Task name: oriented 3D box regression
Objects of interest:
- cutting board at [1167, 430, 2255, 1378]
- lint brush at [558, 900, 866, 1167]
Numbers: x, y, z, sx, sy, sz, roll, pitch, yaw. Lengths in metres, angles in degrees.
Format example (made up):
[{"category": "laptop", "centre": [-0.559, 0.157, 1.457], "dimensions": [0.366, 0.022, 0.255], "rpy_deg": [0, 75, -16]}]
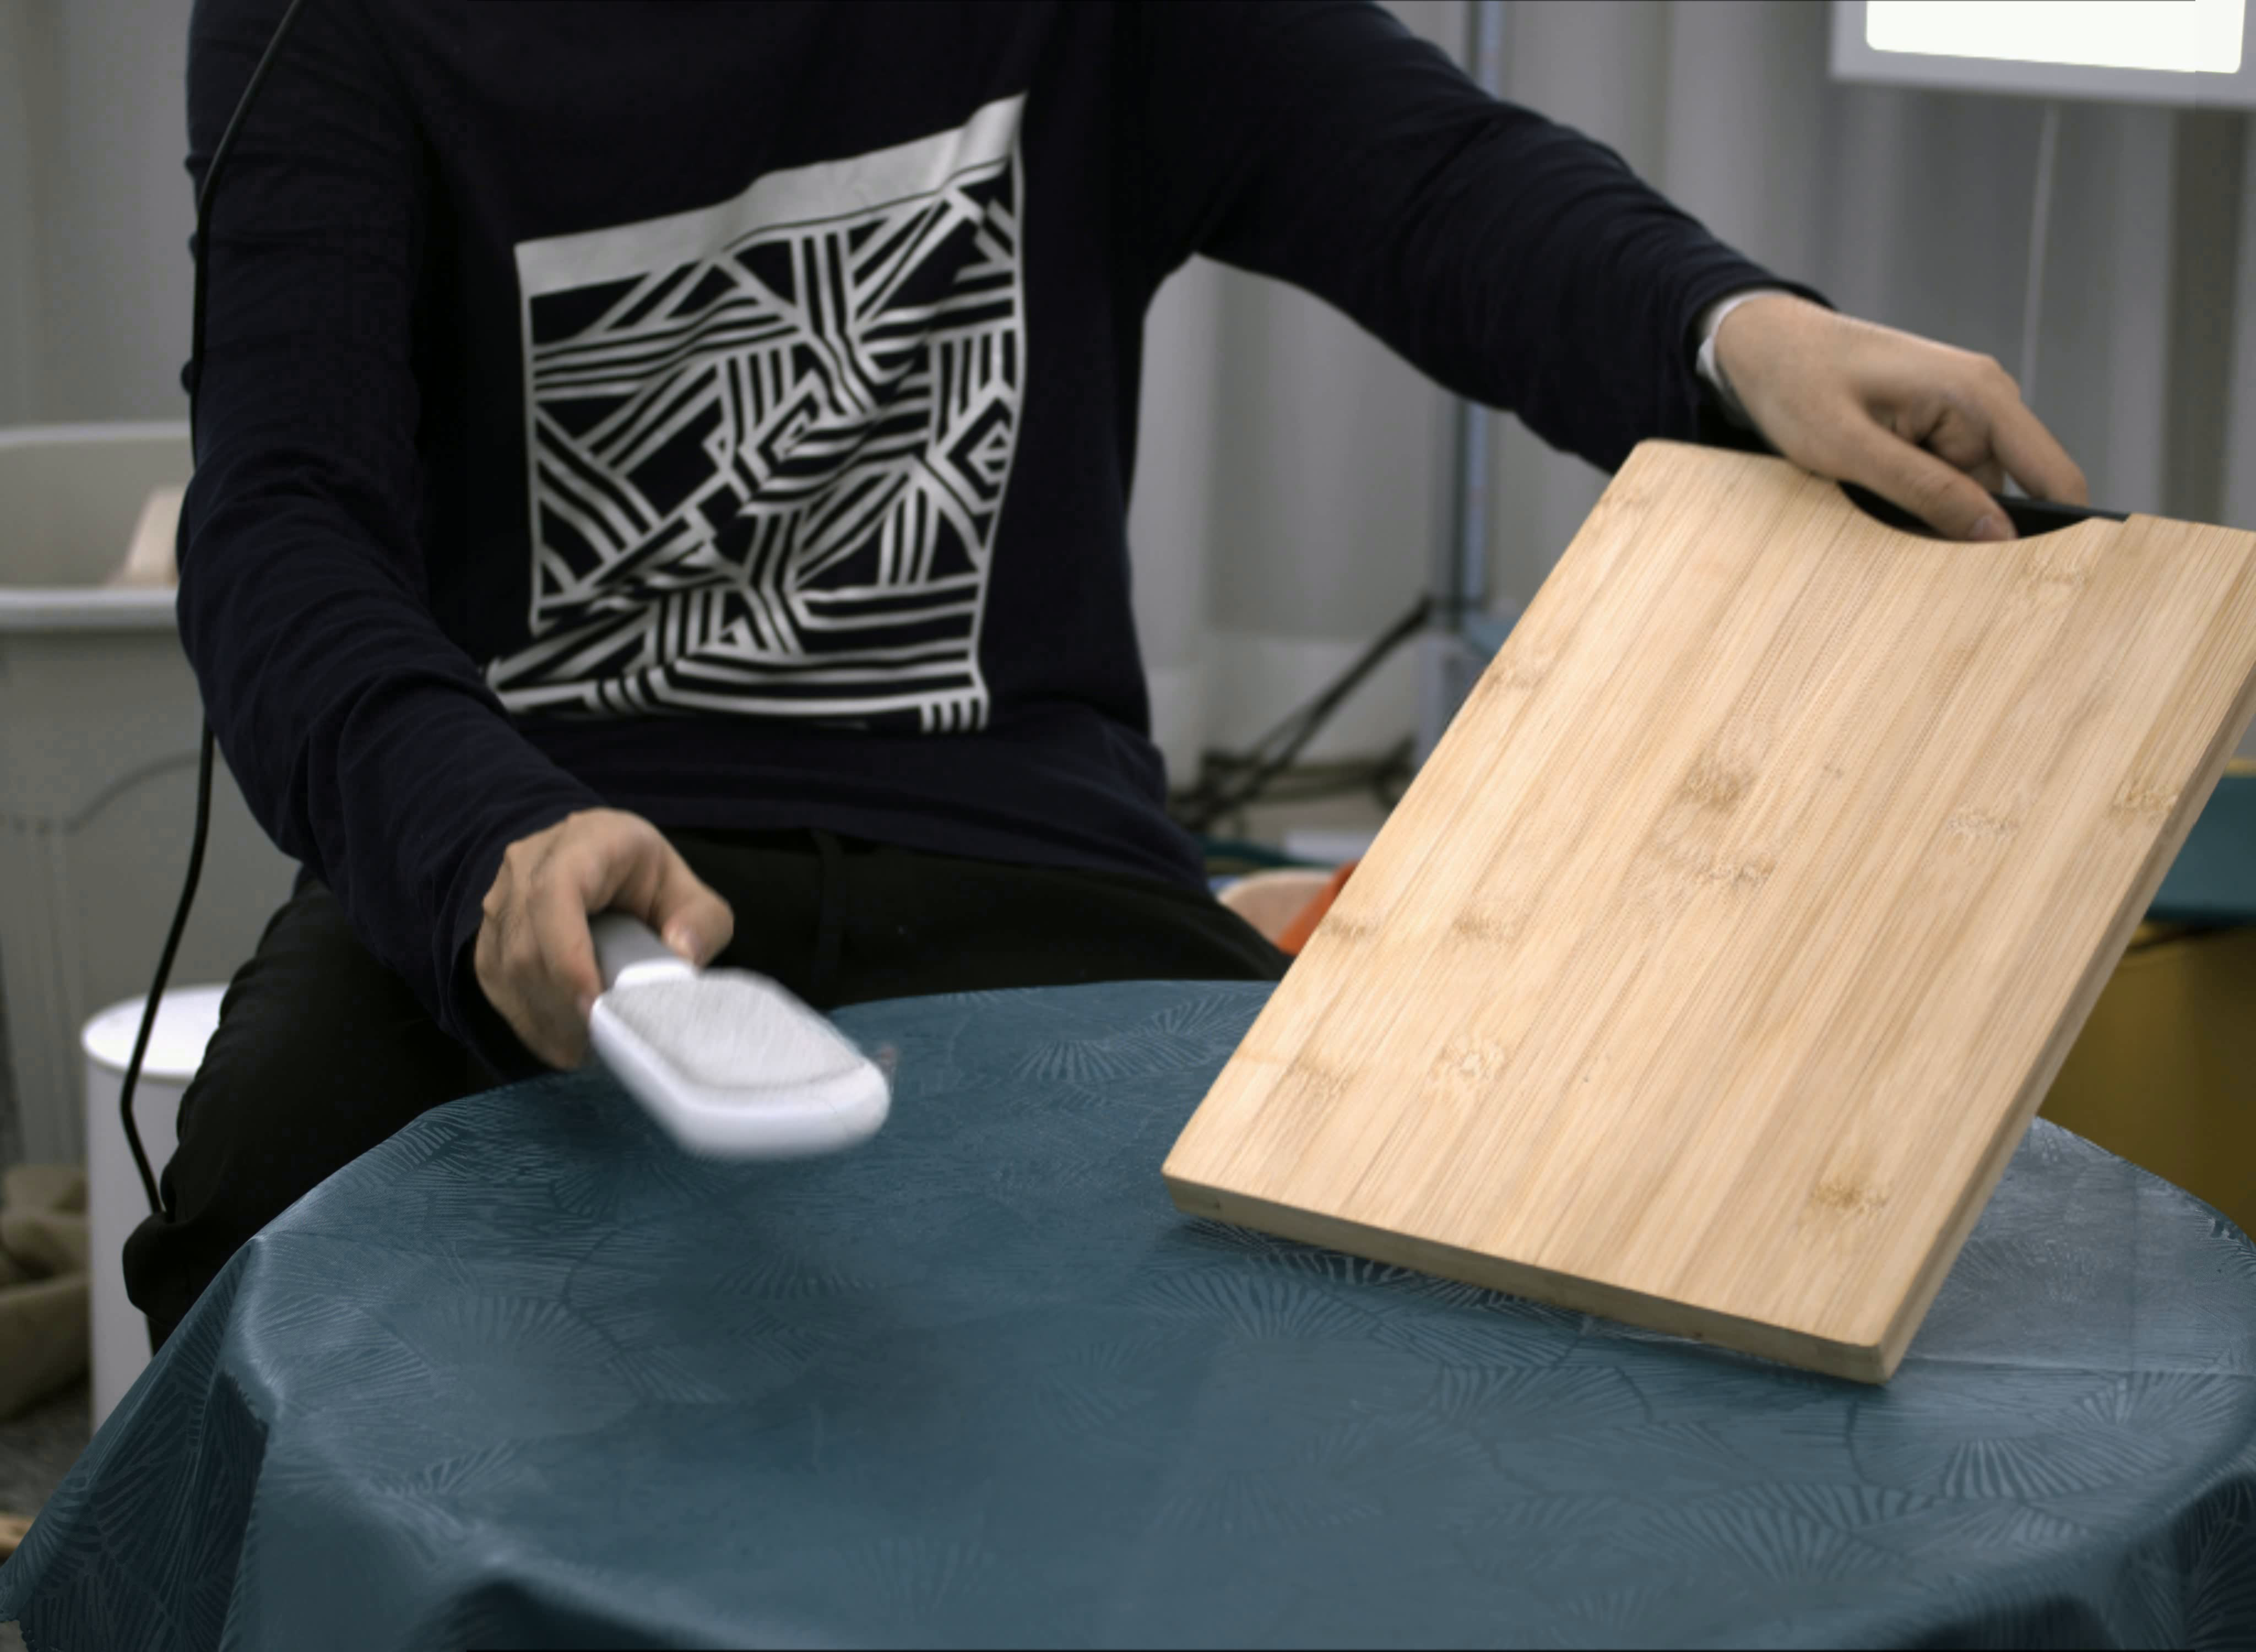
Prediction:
[{"category": "cutting board", "centre": [0.195, 0.011, 1.621], "dimensions": [0.247, 0.024, 0.348], "rpy_deg": [12, 51, 30]}, {"category": "lint brush", "centre": [-0.130, 0.057, 1.533], "dimensions": [0.060, 0.021, 0.306], "rpy_deg": [-9, 12, -14]}]
